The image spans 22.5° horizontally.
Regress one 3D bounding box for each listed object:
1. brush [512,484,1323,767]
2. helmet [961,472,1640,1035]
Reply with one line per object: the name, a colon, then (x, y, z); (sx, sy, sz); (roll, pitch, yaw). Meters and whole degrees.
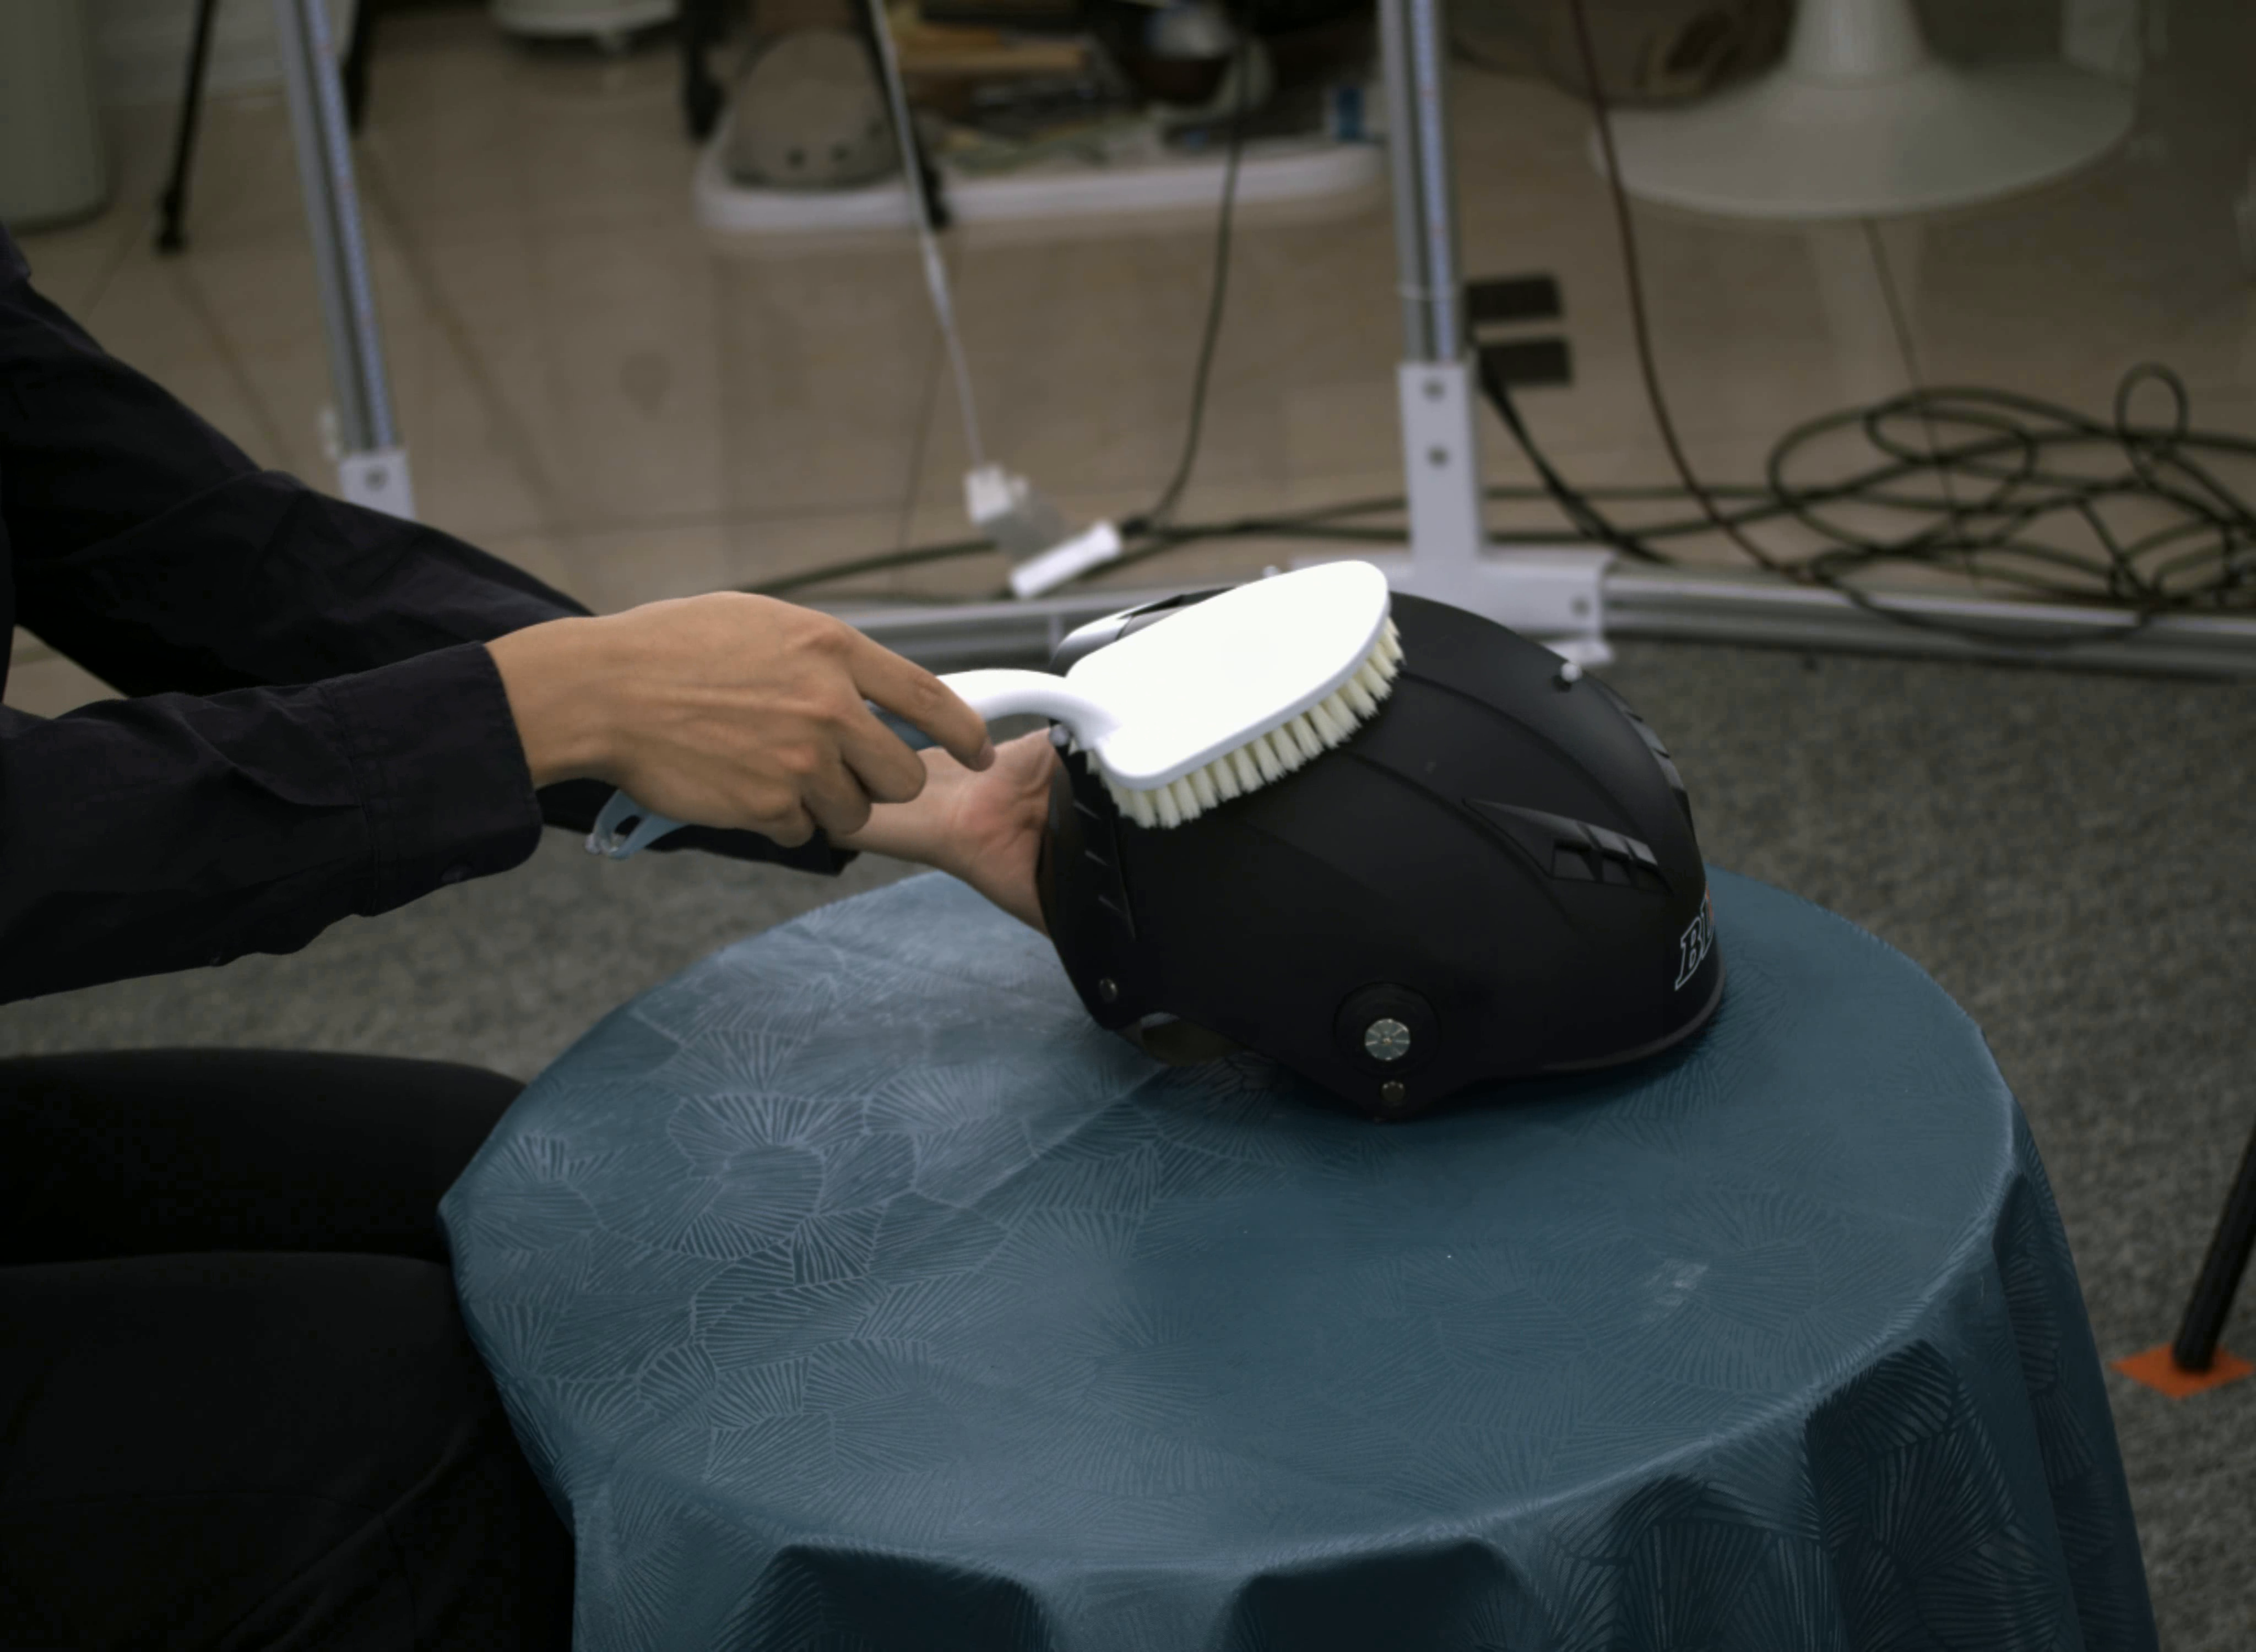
brush: (-0.078, -0.058, 2.132); (0.324, 0.085, 0.082); (-17, 14, -17)
helmet: (0.072, -0.044, 2.251); (0.276, 0.175, 0.243); (13, 31, 11)
